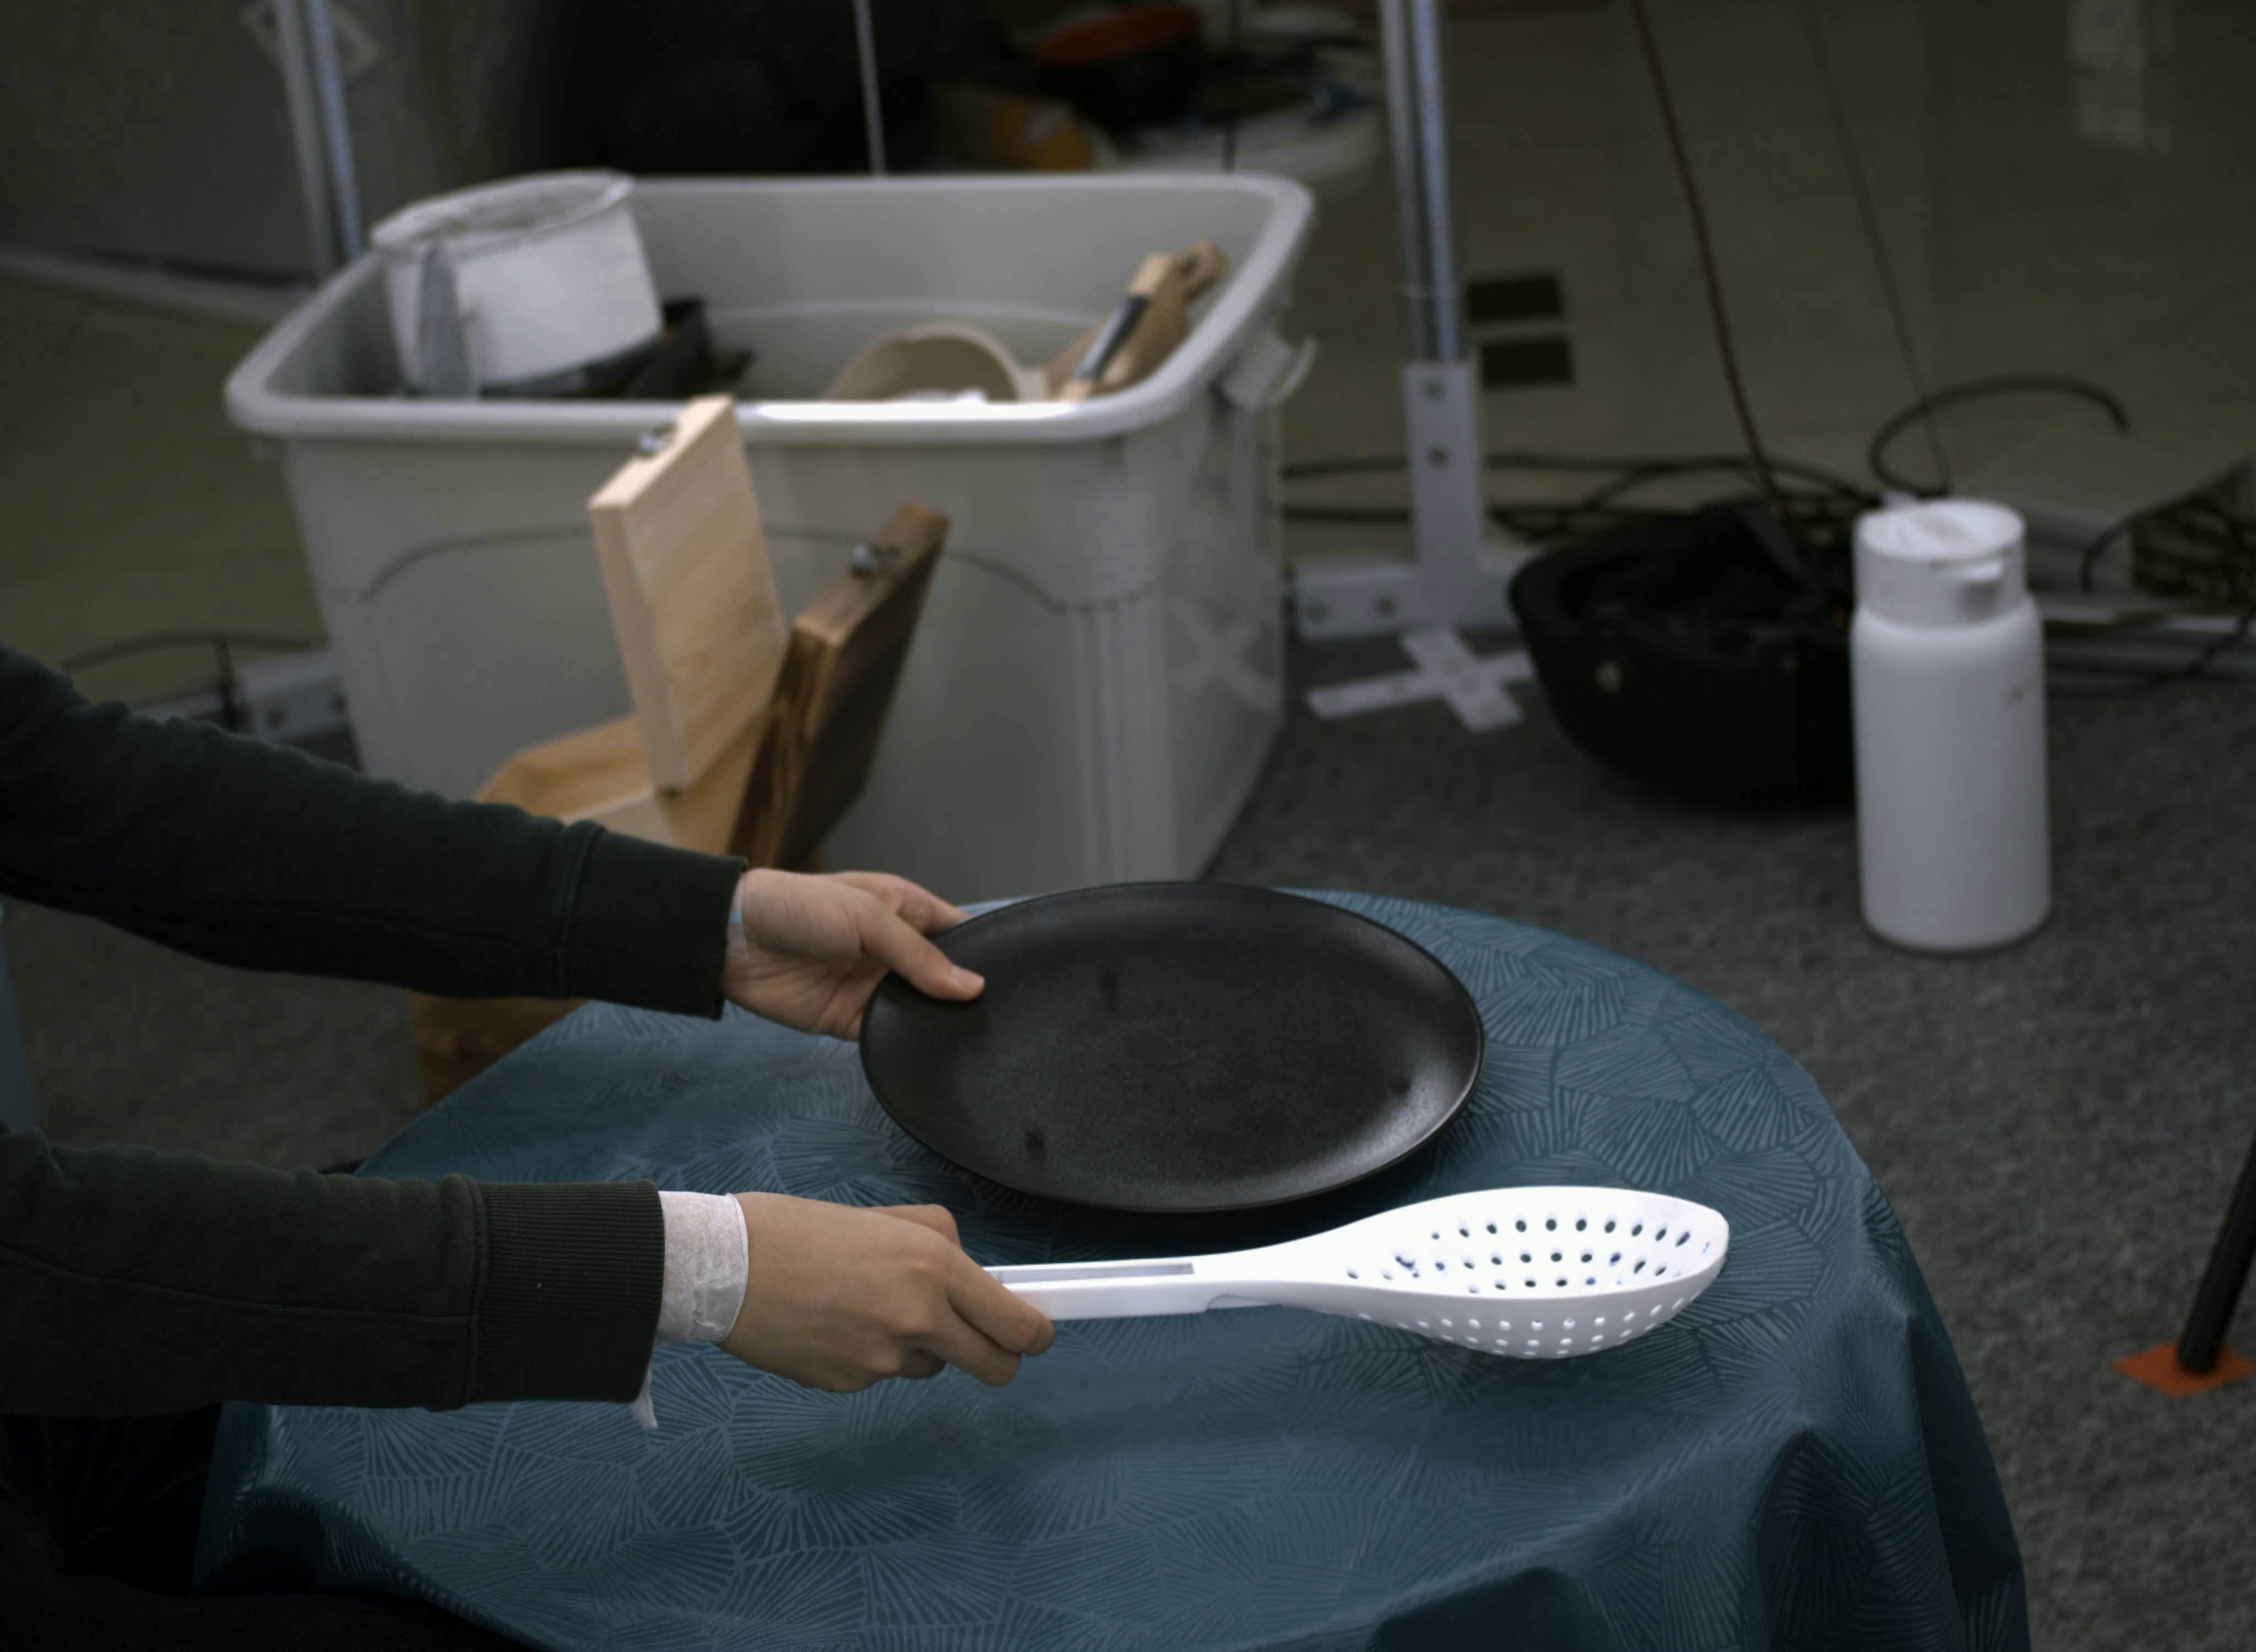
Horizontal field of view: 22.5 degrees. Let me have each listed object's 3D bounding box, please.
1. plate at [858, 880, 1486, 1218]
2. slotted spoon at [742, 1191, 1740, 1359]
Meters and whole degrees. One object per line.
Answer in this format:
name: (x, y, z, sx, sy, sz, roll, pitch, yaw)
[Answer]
plate: (0.017, 0.090, 2.196, 0.244, 0.024, 0.240, 0, 30, 0)
slotted spoon: (0.039, 0.160, 1.995, 0.349, 0.046, 0.135, 1, 11, -4)
